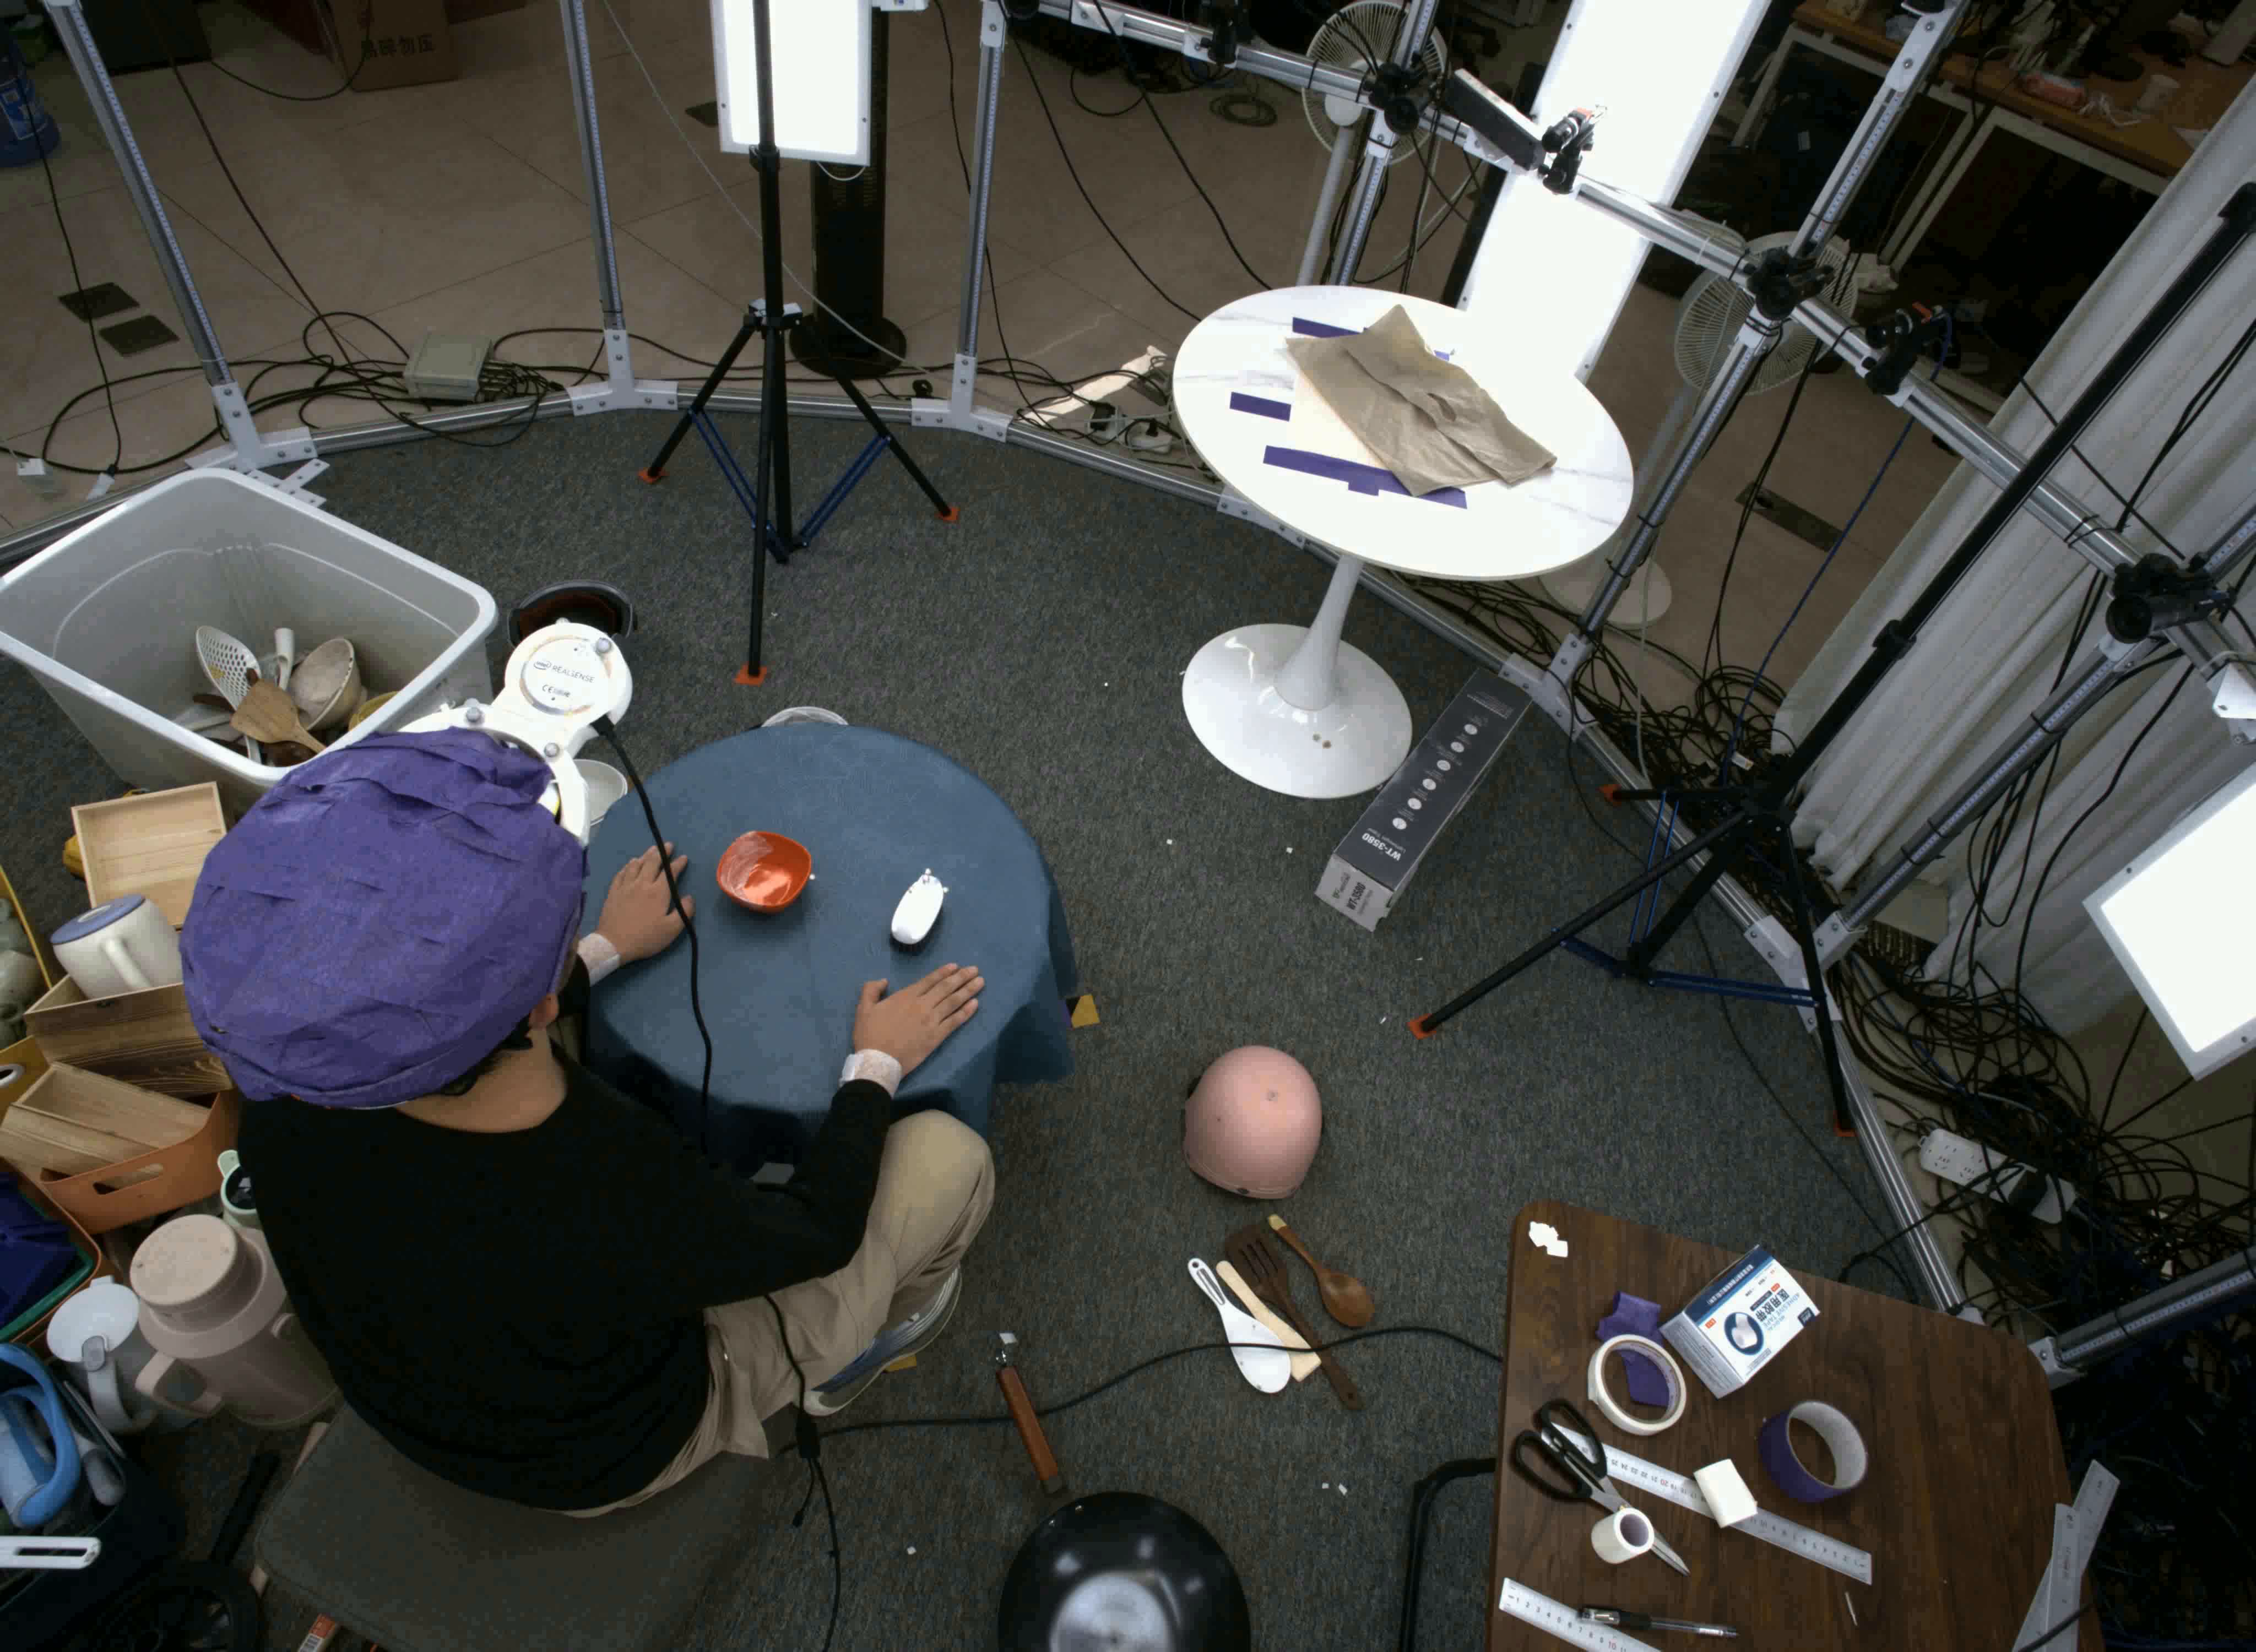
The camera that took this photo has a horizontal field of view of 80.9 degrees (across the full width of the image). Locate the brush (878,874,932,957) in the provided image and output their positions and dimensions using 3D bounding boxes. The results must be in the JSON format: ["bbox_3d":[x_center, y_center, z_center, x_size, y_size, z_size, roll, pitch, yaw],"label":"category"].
[{"bbox_3d":[-0.279,0.103,1.632,0.050,0.074,0.098,20,51,4],"label":"brush"}]

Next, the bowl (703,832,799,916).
[{"bbox_3d":[-0.472,0.067,1.621,0.119,0.052,0.116,11,48,-10],"label":"bowl"}]
